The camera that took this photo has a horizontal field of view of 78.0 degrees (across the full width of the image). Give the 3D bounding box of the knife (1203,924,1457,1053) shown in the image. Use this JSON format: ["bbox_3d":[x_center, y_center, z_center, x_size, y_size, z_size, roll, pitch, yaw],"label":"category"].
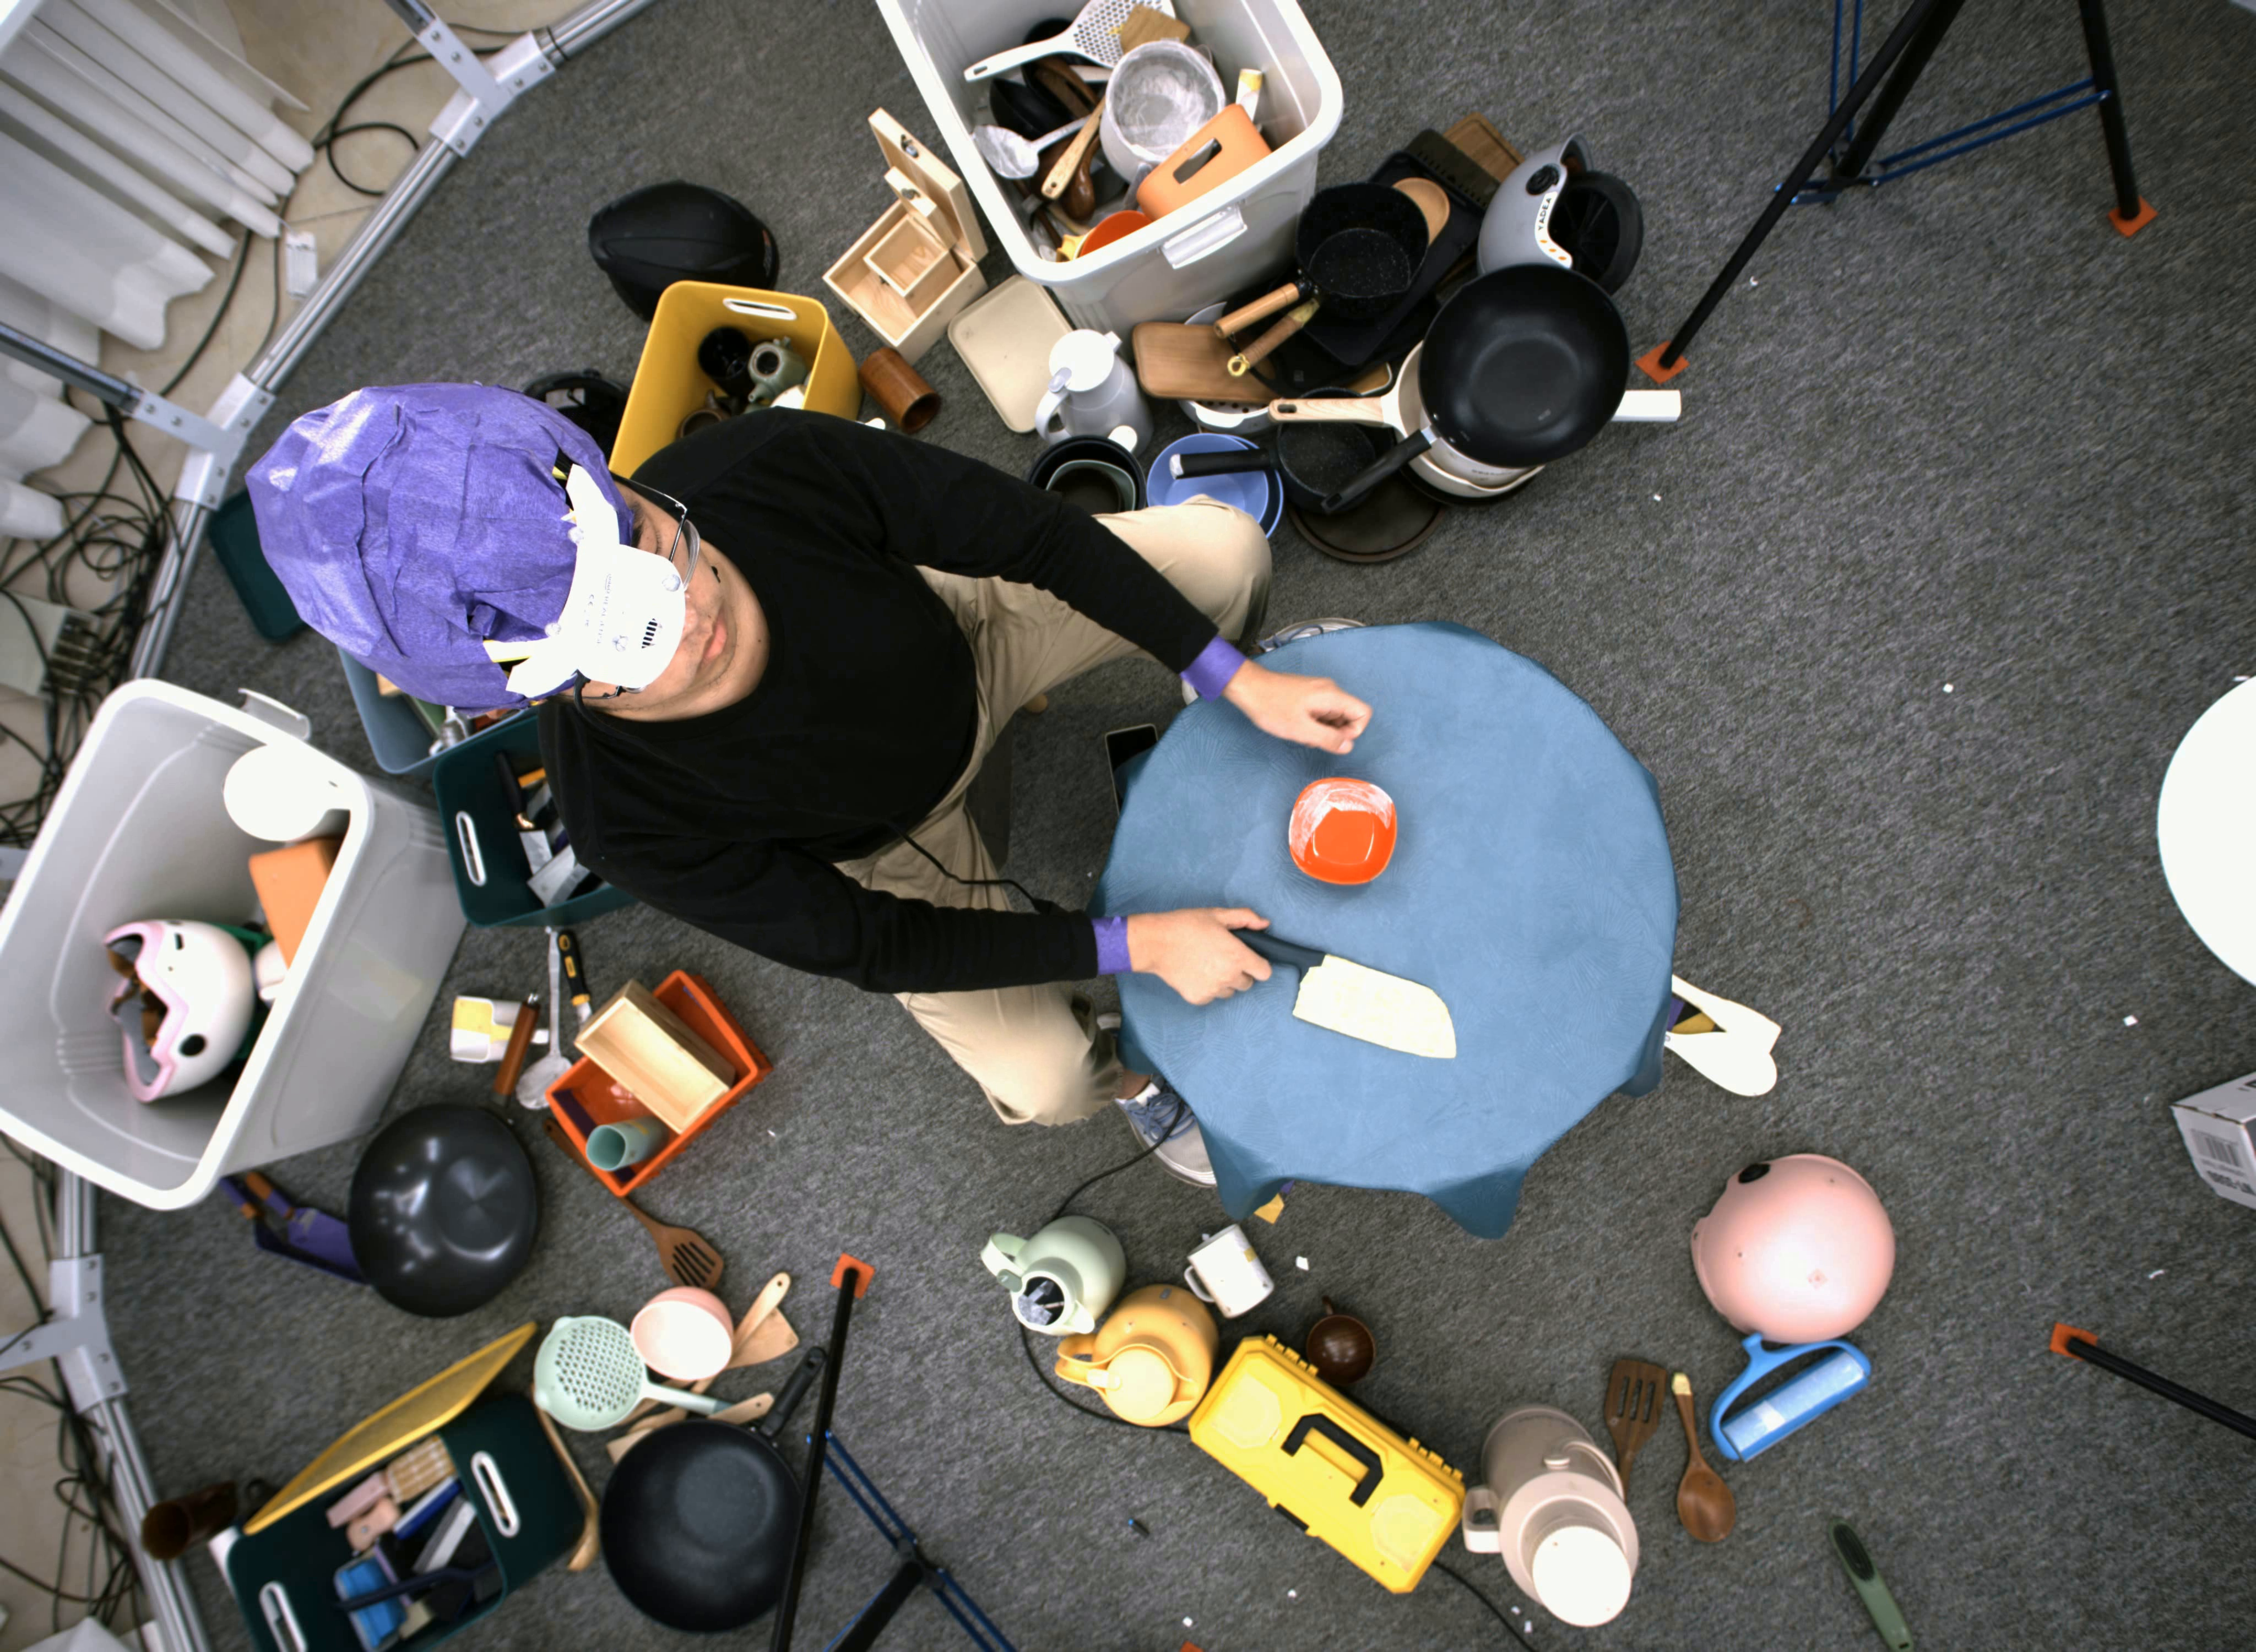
[{"bbox_3d":[0.209,0.169,1.461,0.289,0.027,0.081,21,90,10],"label":"knife"}]

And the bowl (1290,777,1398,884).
[{"bbox_3d":[0.226,0.005,1.446,0.119,0.051,0.118,0,89,10],"label":"bowl"}]
